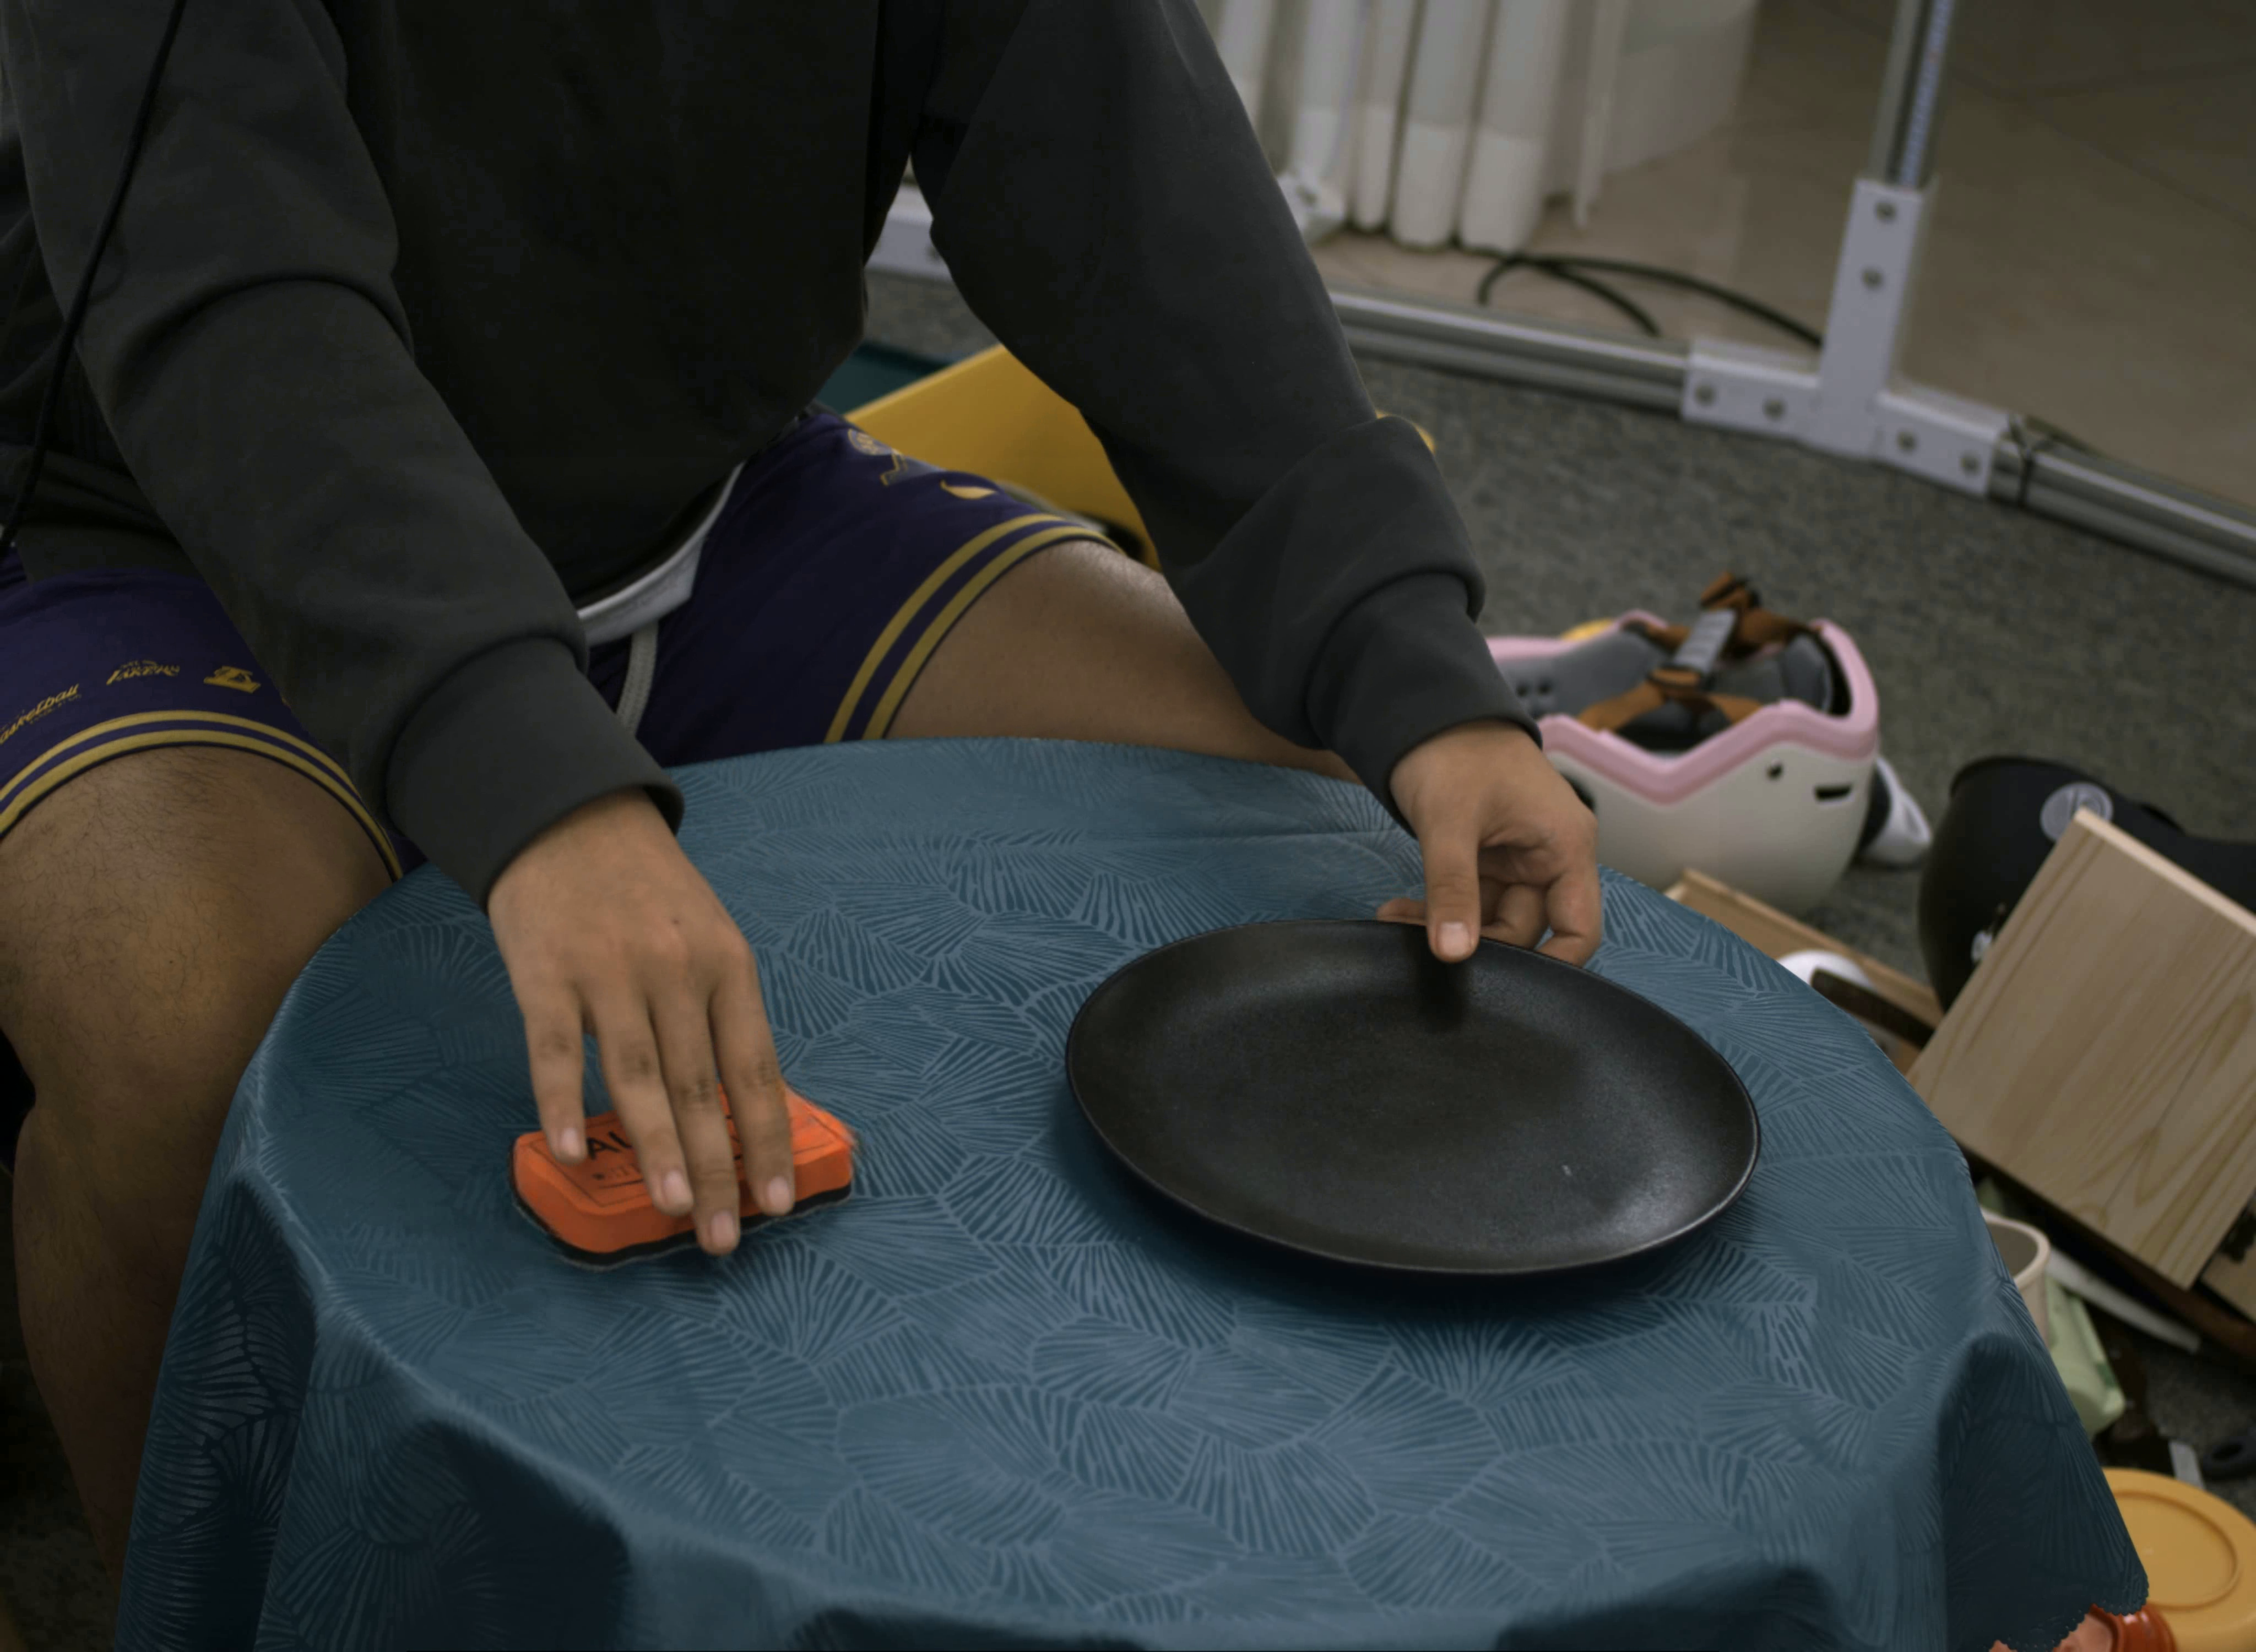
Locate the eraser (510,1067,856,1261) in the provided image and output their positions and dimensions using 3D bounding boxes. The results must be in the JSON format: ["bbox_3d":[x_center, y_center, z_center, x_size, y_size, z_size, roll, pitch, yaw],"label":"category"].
[{"bbox_3d":[-0.147,0.111,1.760,0.107,0.023,0.059,-12,34,-35],"label":"eraser"}]

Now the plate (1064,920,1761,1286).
[{"bbox_3d":[0.097,0.099,1.845,0.243,0.023,0.246,5,27,-3],"label":"plate"}]
